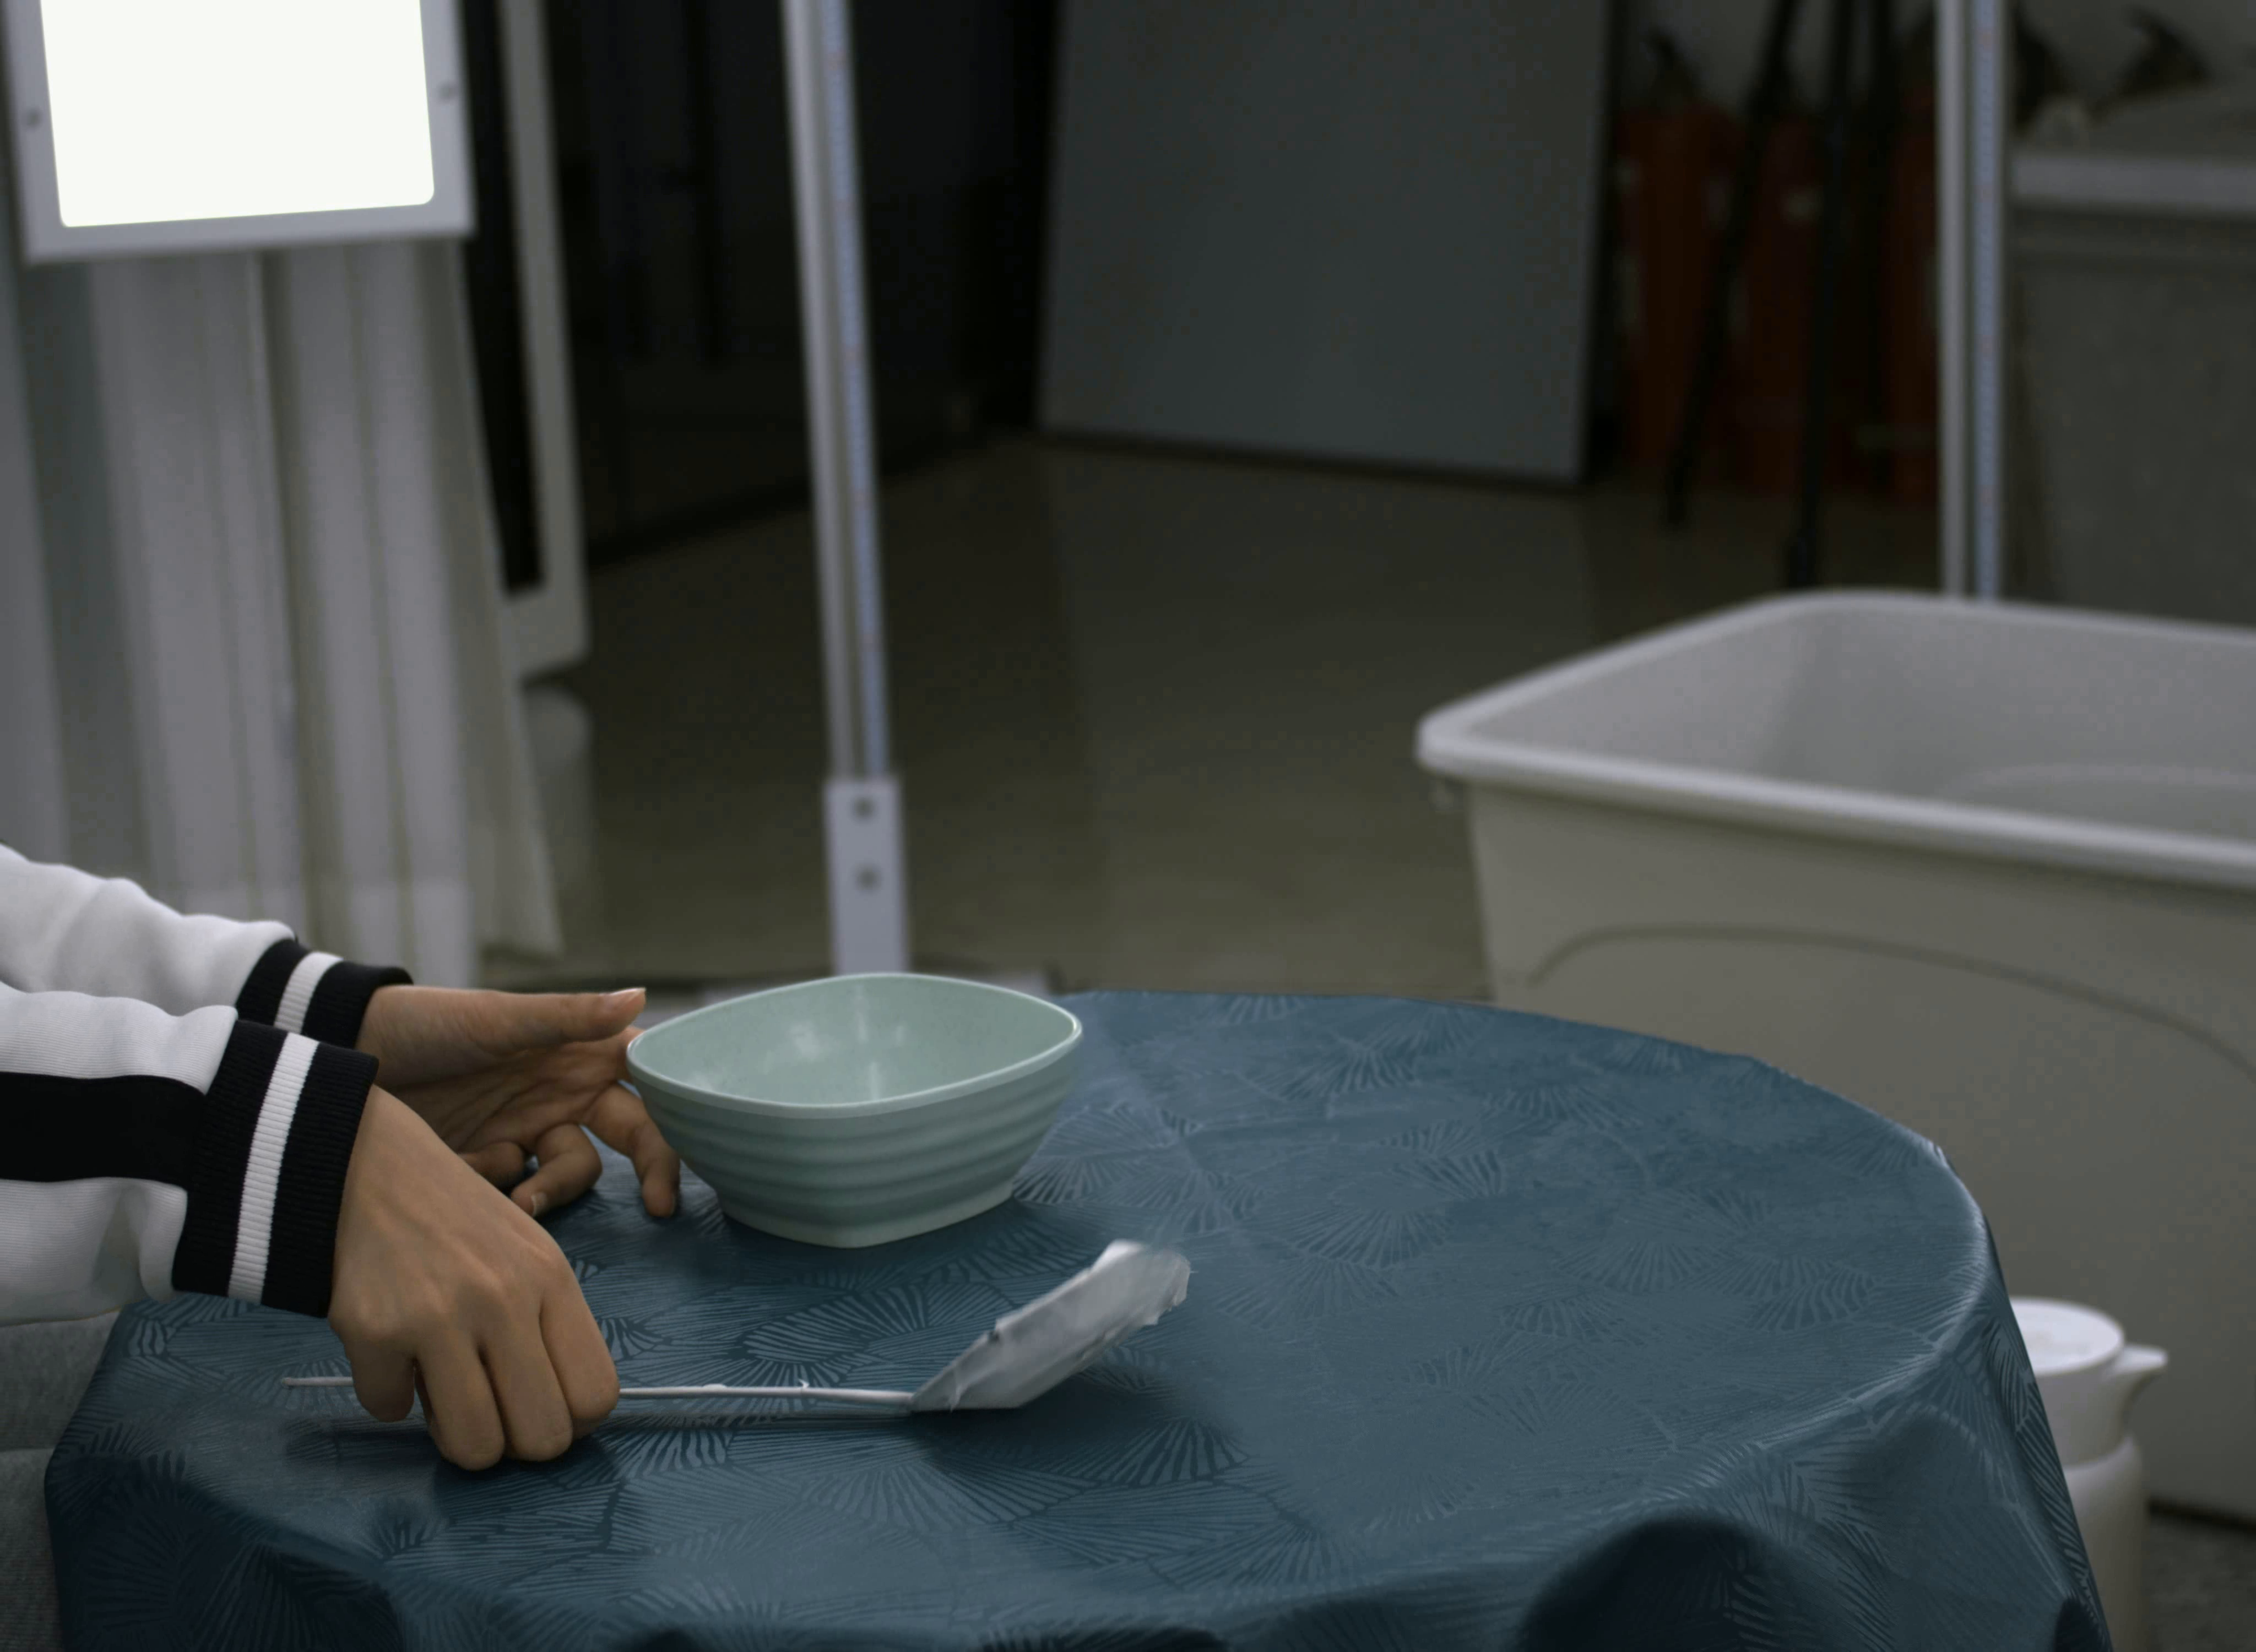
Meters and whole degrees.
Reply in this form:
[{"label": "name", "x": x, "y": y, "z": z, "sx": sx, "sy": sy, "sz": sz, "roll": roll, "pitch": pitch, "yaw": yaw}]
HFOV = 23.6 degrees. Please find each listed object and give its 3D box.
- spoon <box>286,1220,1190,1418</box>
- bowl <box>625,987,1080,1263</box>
[{"label": "spoon", "x": -0.116, "y": 0.143, "z": 1.595, "sx": 0.276, "sy": 0.060, "sz": 0.100, "roll": 1, "pitch": -8, "yaw": 15}, {"label": "bowl", "x": -0.088, "y": 0.101, "z": 1.772, "sx": 0.149, "sy": 0.059, "sz": 0.151, "roll": -4, "pitch": 13, "yaw": 0}]
